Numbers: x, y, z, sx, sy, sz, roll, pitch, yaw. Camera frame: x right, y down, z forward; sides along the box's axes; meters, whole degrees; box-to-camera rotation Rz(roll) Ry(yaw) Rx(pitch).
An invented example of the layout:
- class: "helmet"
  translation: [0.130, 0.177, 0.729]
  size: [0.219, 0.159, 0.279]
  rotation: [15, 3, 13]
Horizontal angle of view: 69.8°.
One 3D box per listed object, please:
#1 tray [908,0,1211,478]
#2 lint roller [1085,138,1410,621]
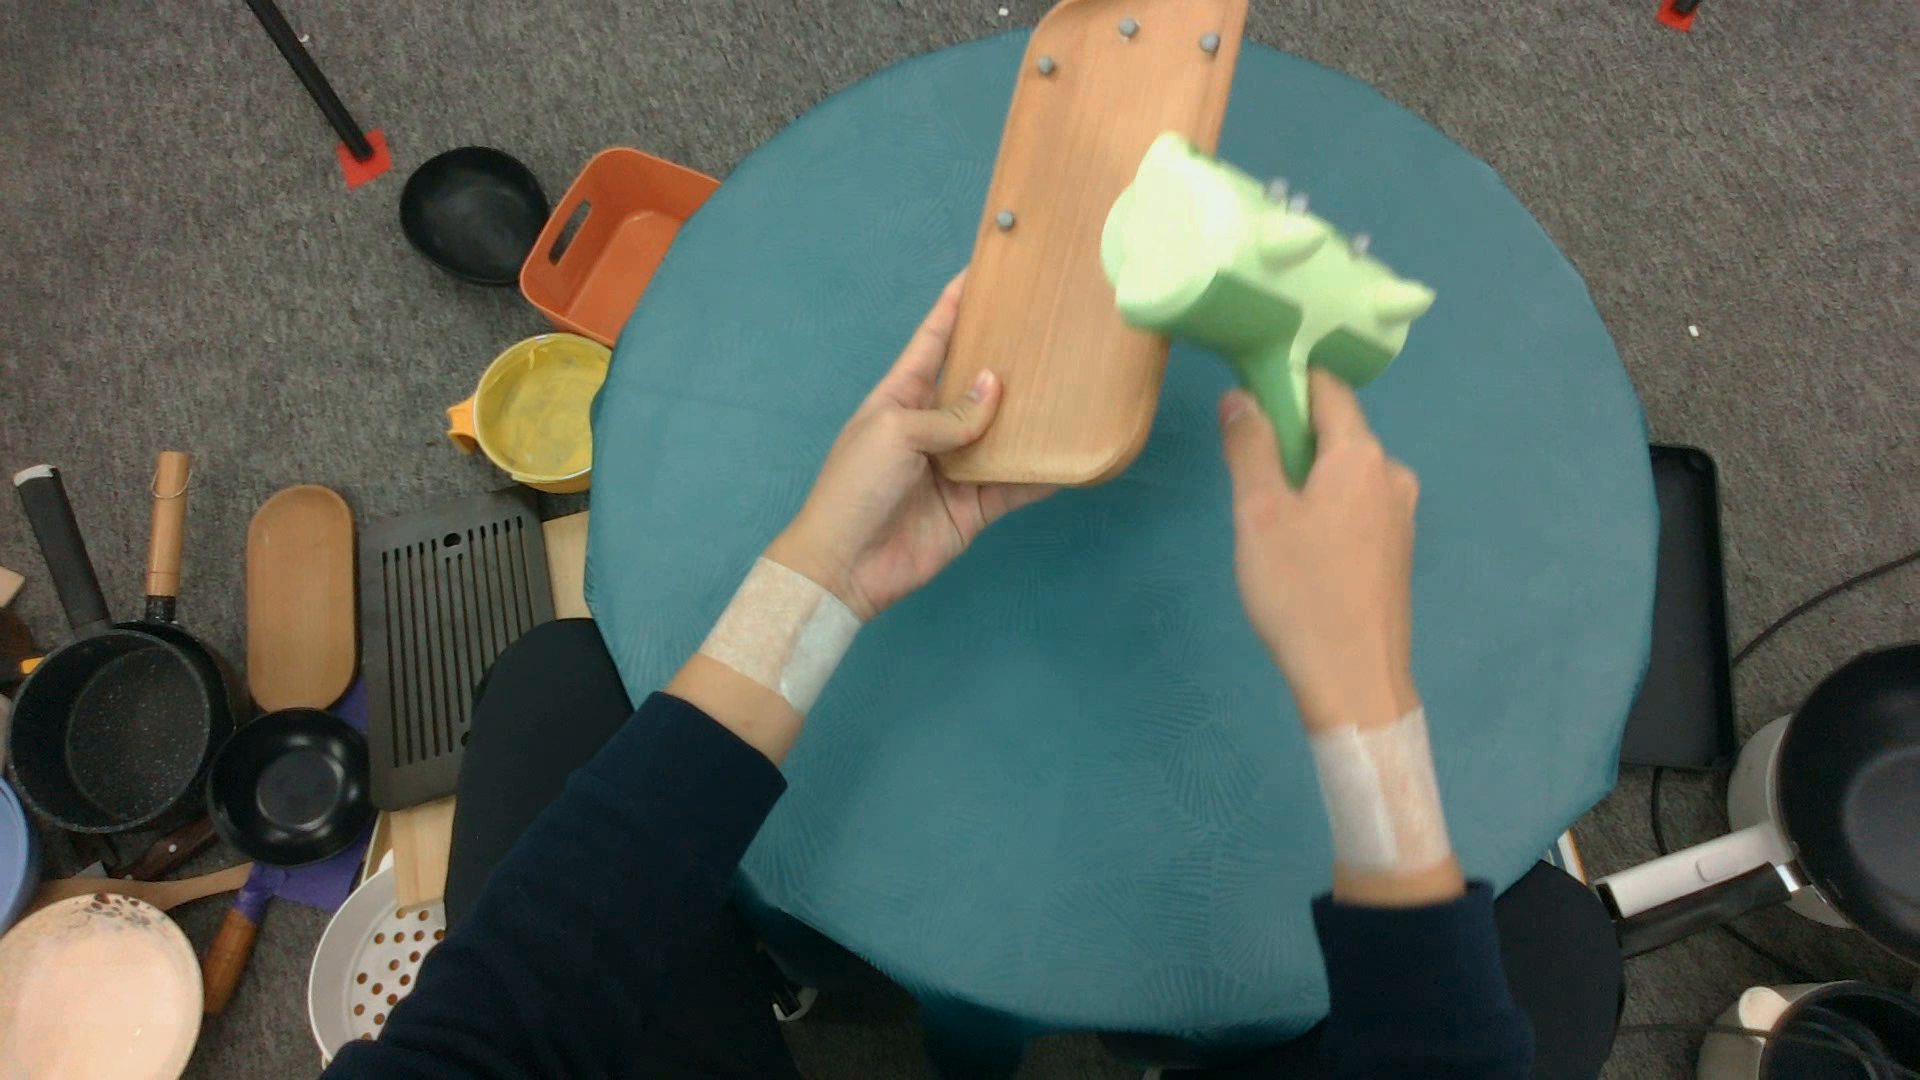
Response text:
- class: "tray"
  translation: [0.045, -0.148, 0.625]
  size: [0.130, 0.023, 0.251]
  rotation: [1, 76, 47]
- class: "lint roller"
  translation: [0.144, -0.064, 0.568]
  size: [0.082, 0.199, 0.183]
  rotation: [-27, 73, 34]
